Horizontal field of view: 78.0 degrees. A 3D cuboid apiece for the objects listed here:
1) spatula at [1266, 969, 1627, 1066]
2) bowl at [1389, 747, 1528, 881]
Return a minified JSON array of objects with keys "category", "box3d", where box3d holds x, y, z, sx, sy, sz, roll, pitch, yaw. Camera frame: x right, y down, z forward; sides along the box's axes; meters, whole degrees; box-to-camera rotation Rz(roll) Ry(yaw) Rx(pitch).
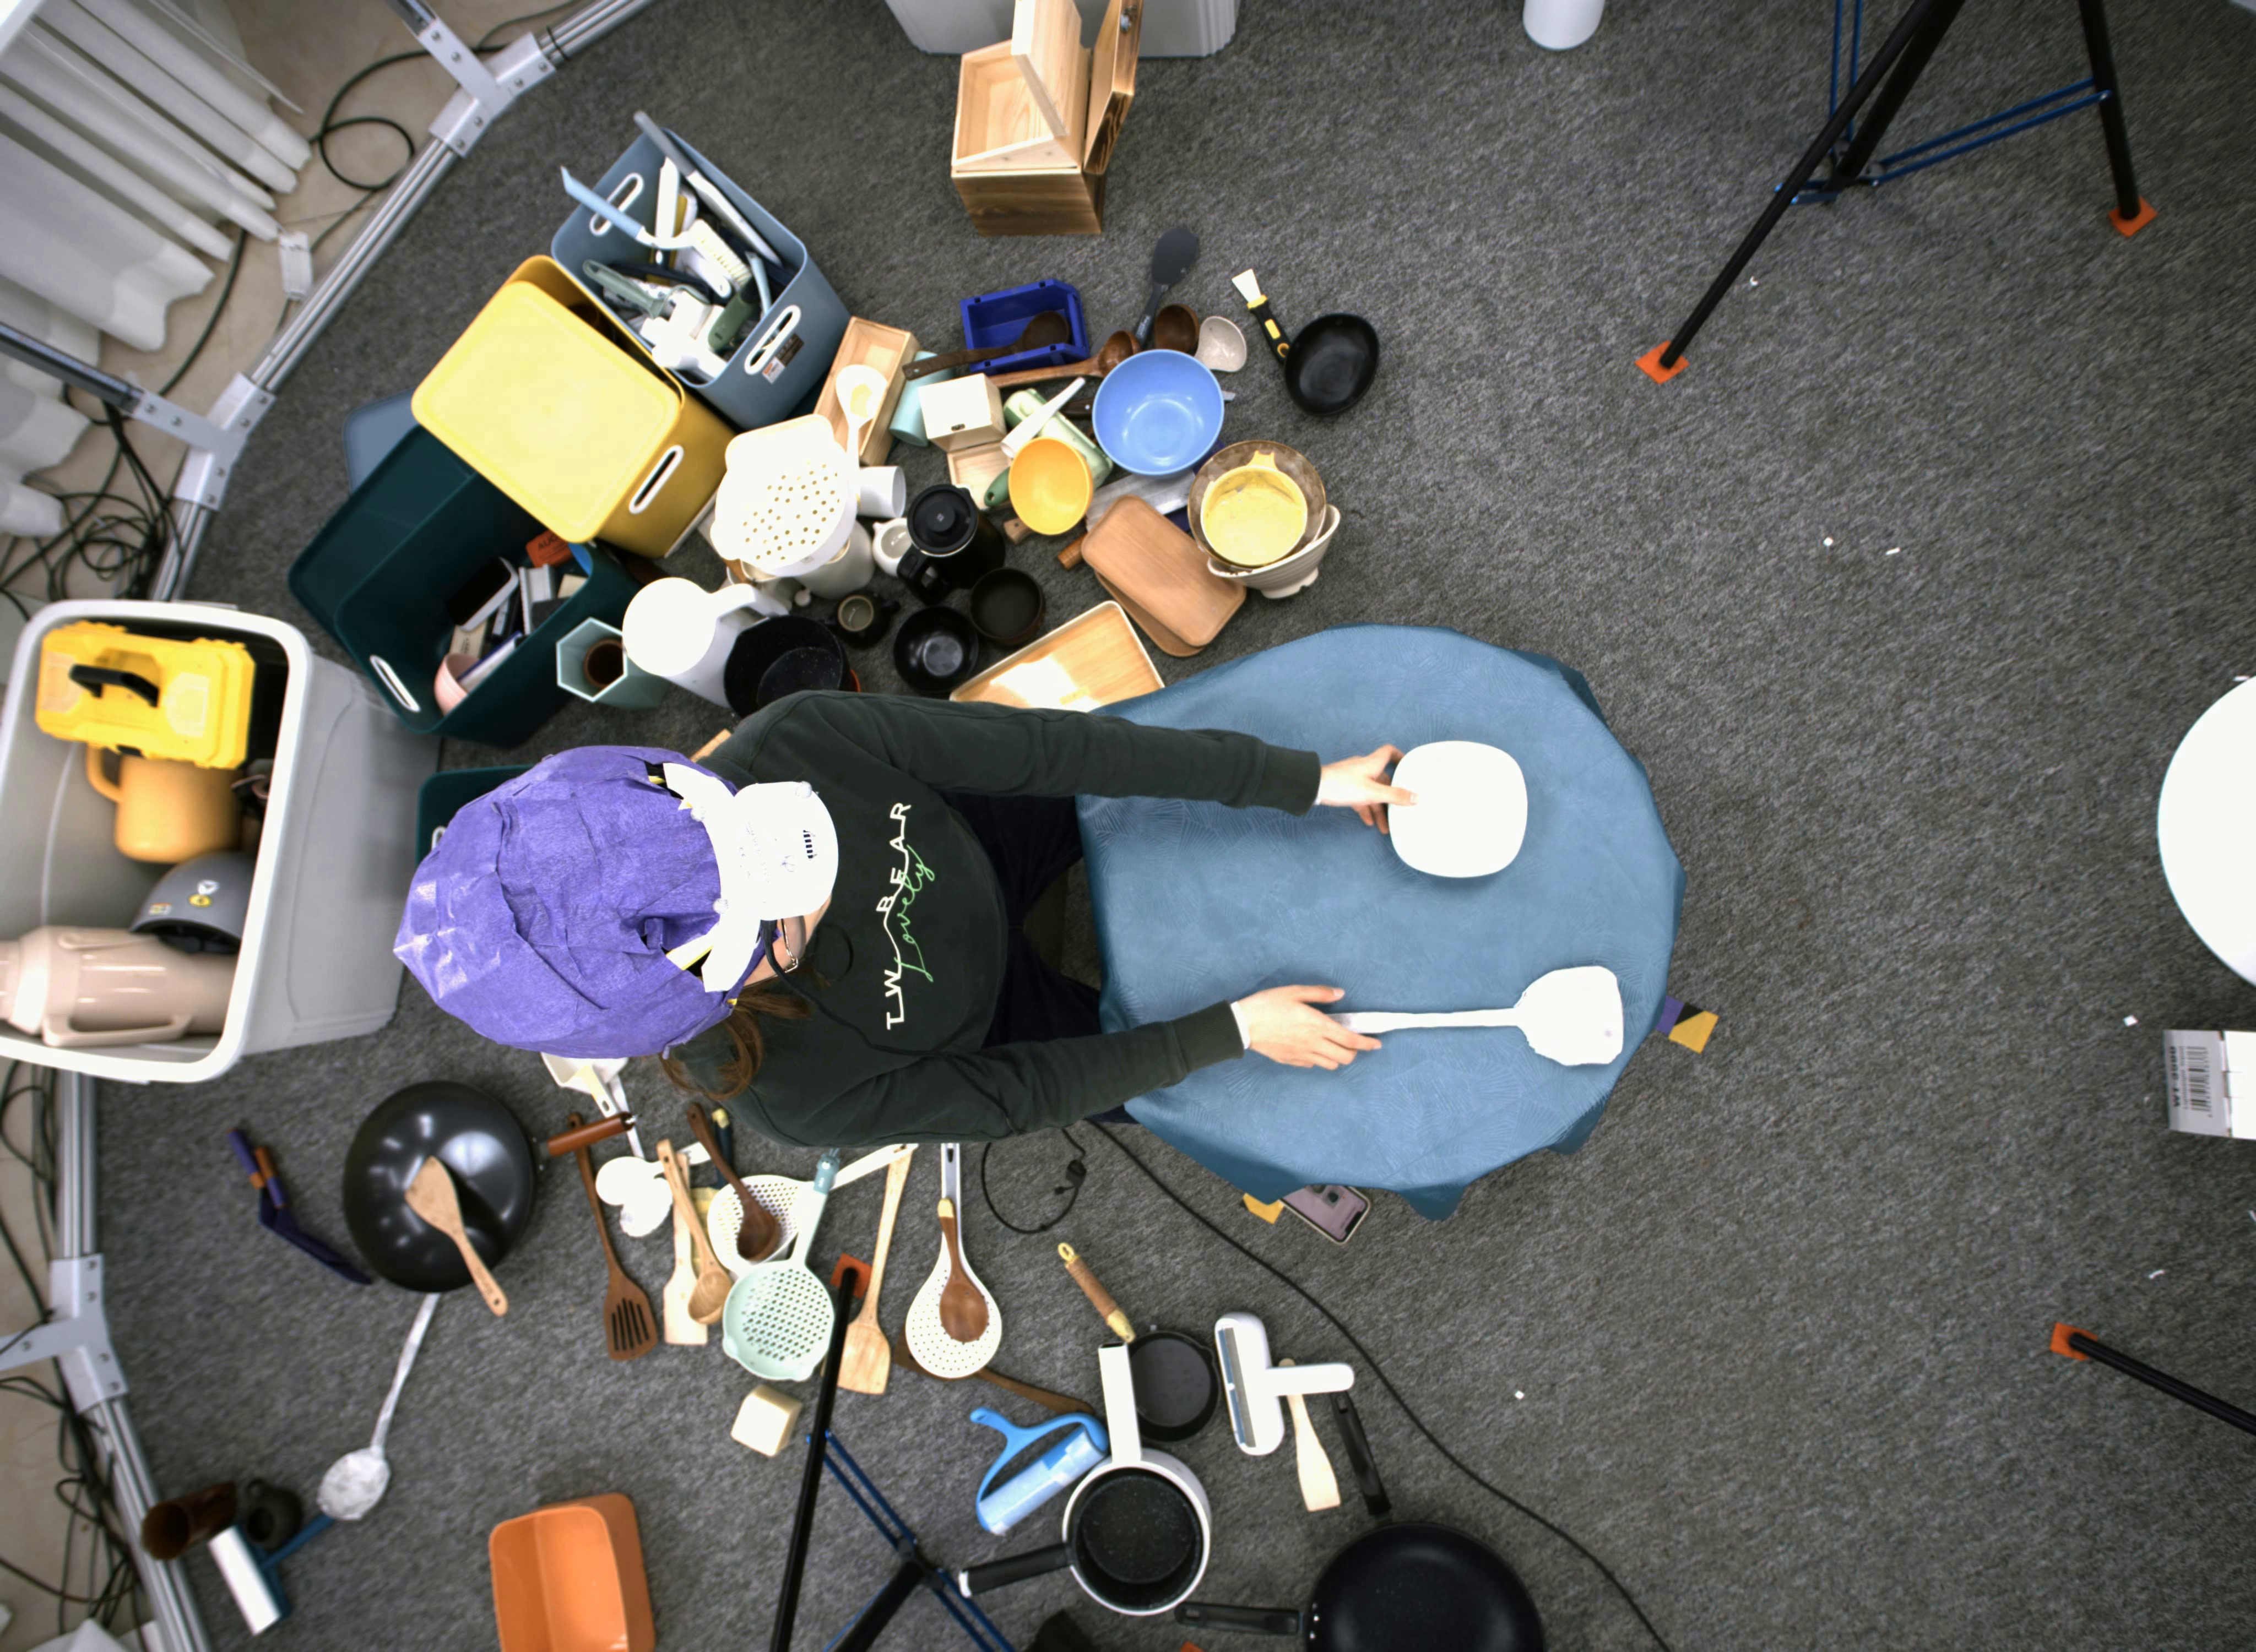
[{"category":"spatula","box3d":[0.323,0.197,1.427,0.366,0.045,0.098,-2,87,10]},{"category":"bowl","box3d":[0.342,-0.011,1.431,0.152,0.059,0.150,-1,84,10]}]
